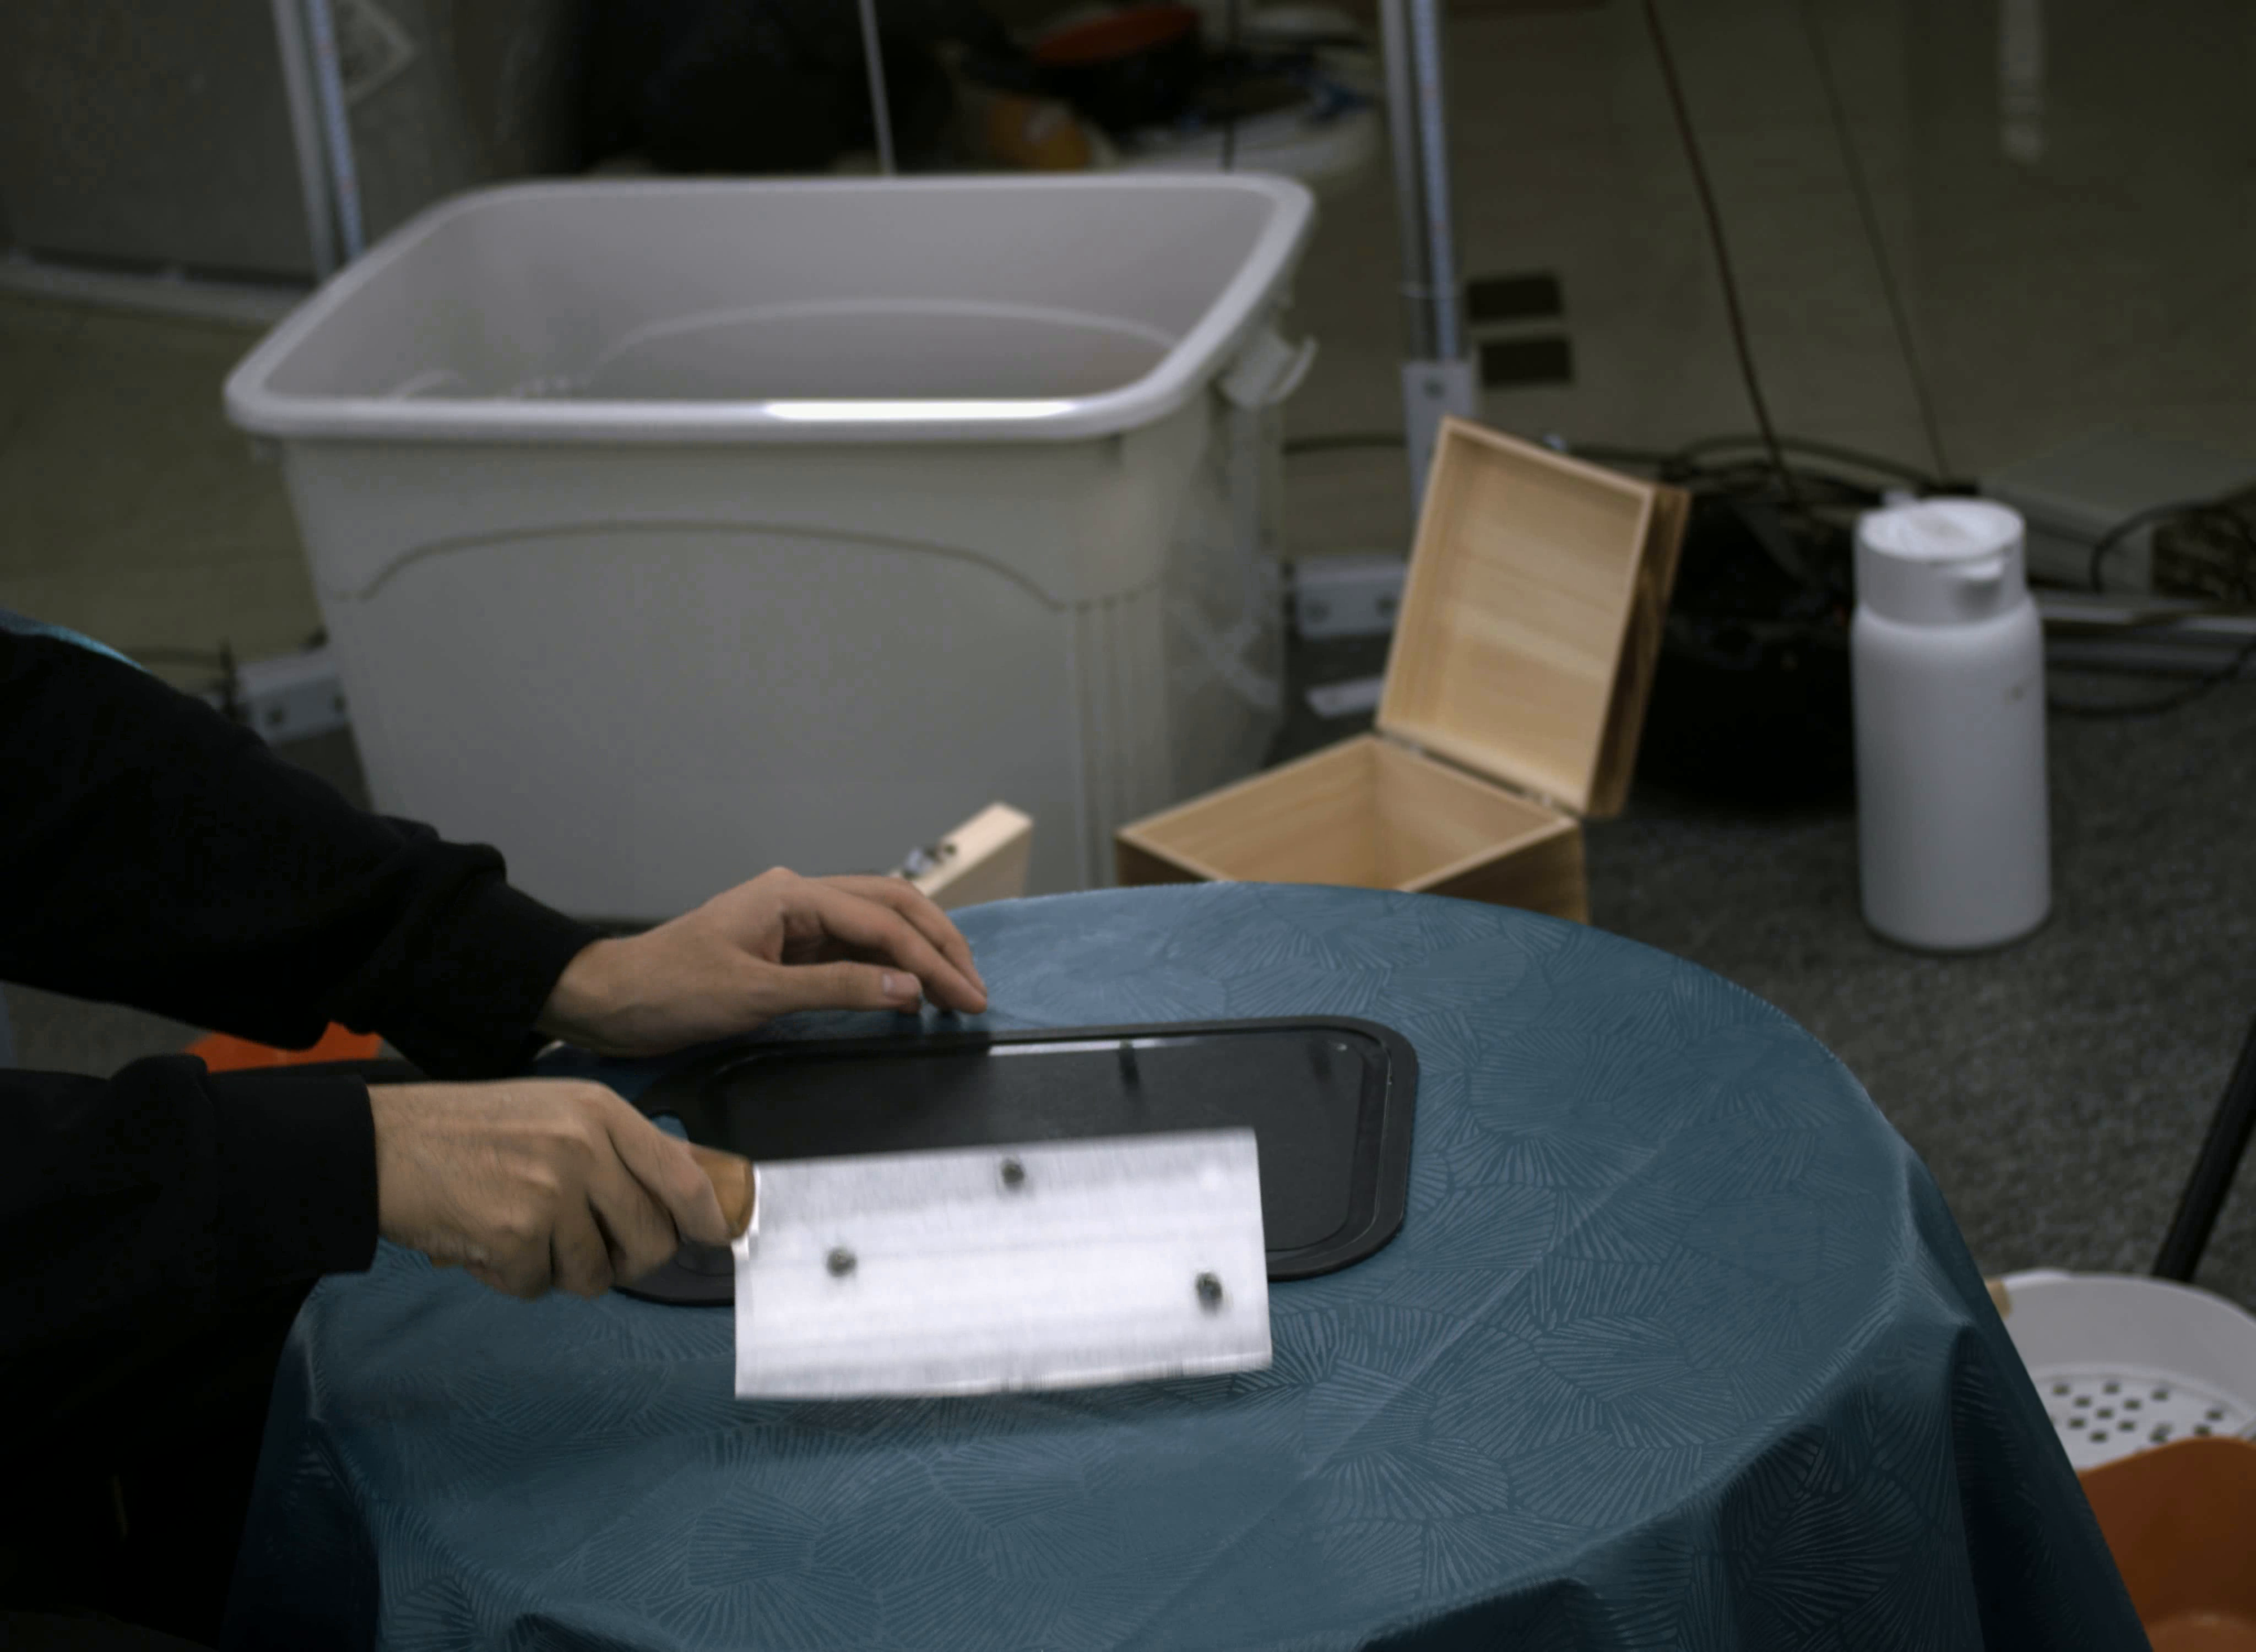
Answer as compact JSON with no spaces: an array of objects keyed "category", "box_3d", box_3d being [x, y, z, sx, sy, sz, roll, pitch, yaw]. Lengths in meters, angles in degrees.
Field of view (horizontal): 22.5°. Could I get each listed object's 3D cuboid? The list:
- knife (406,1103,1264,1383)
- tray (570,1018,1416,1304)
[{"category":"knife","box_3d":[-0.105,0.152,2.019,0.305,0.021,0.091,-5,65,1]},{"category":"tray","box_3d":[-0.054,0.126,2.179,0.325,0.010,0.208,-3,25,8]}]
